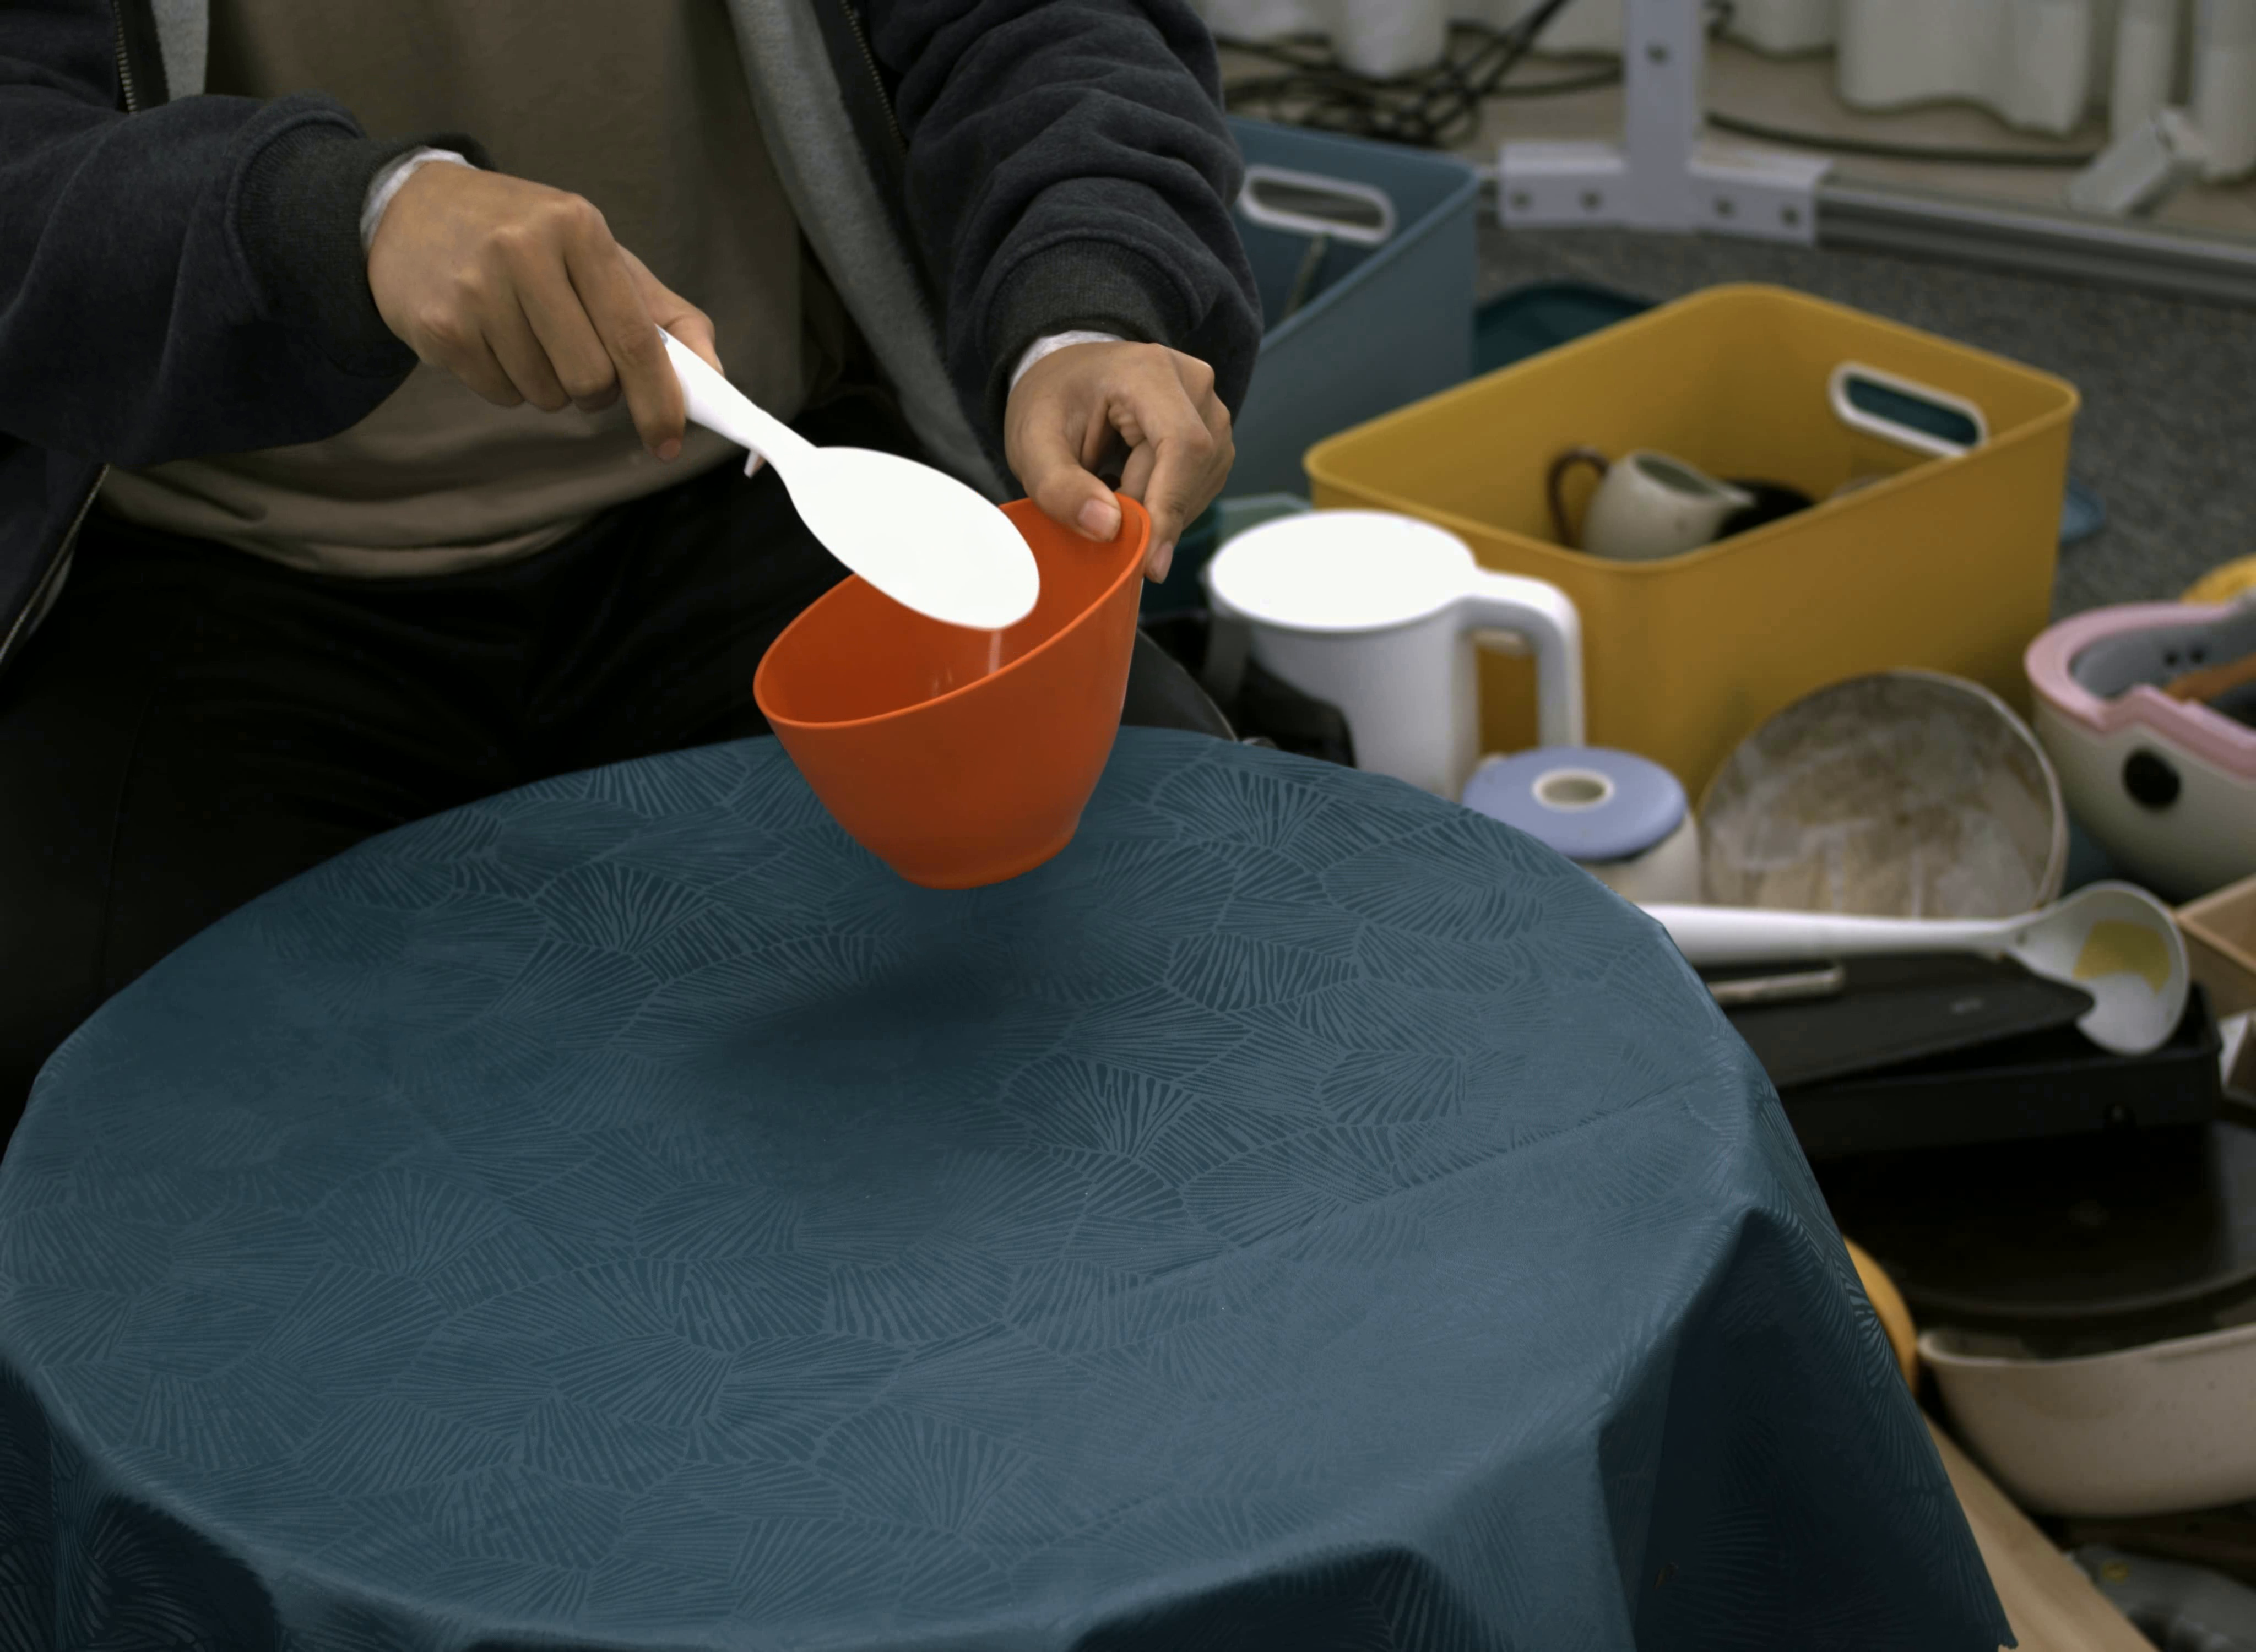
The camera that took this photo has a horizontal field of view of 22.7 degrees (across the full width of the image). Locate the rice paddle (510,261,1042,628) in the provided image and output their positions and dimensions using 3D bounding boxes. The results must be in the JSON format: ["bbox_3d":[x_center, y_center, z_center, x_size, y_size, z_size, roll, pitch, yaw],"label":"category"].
[{"bbox_3d":[-0.118,-0.129,1.928,0.205,0.029,0.070,32,43,6],"label":"rice paddle"}]

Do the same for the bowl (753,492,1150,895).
[{"bbox_3d":[-0.050,-0.039,1.933,0.147,0.104,0.150,-13,26,7],"label":"bowl"}]
